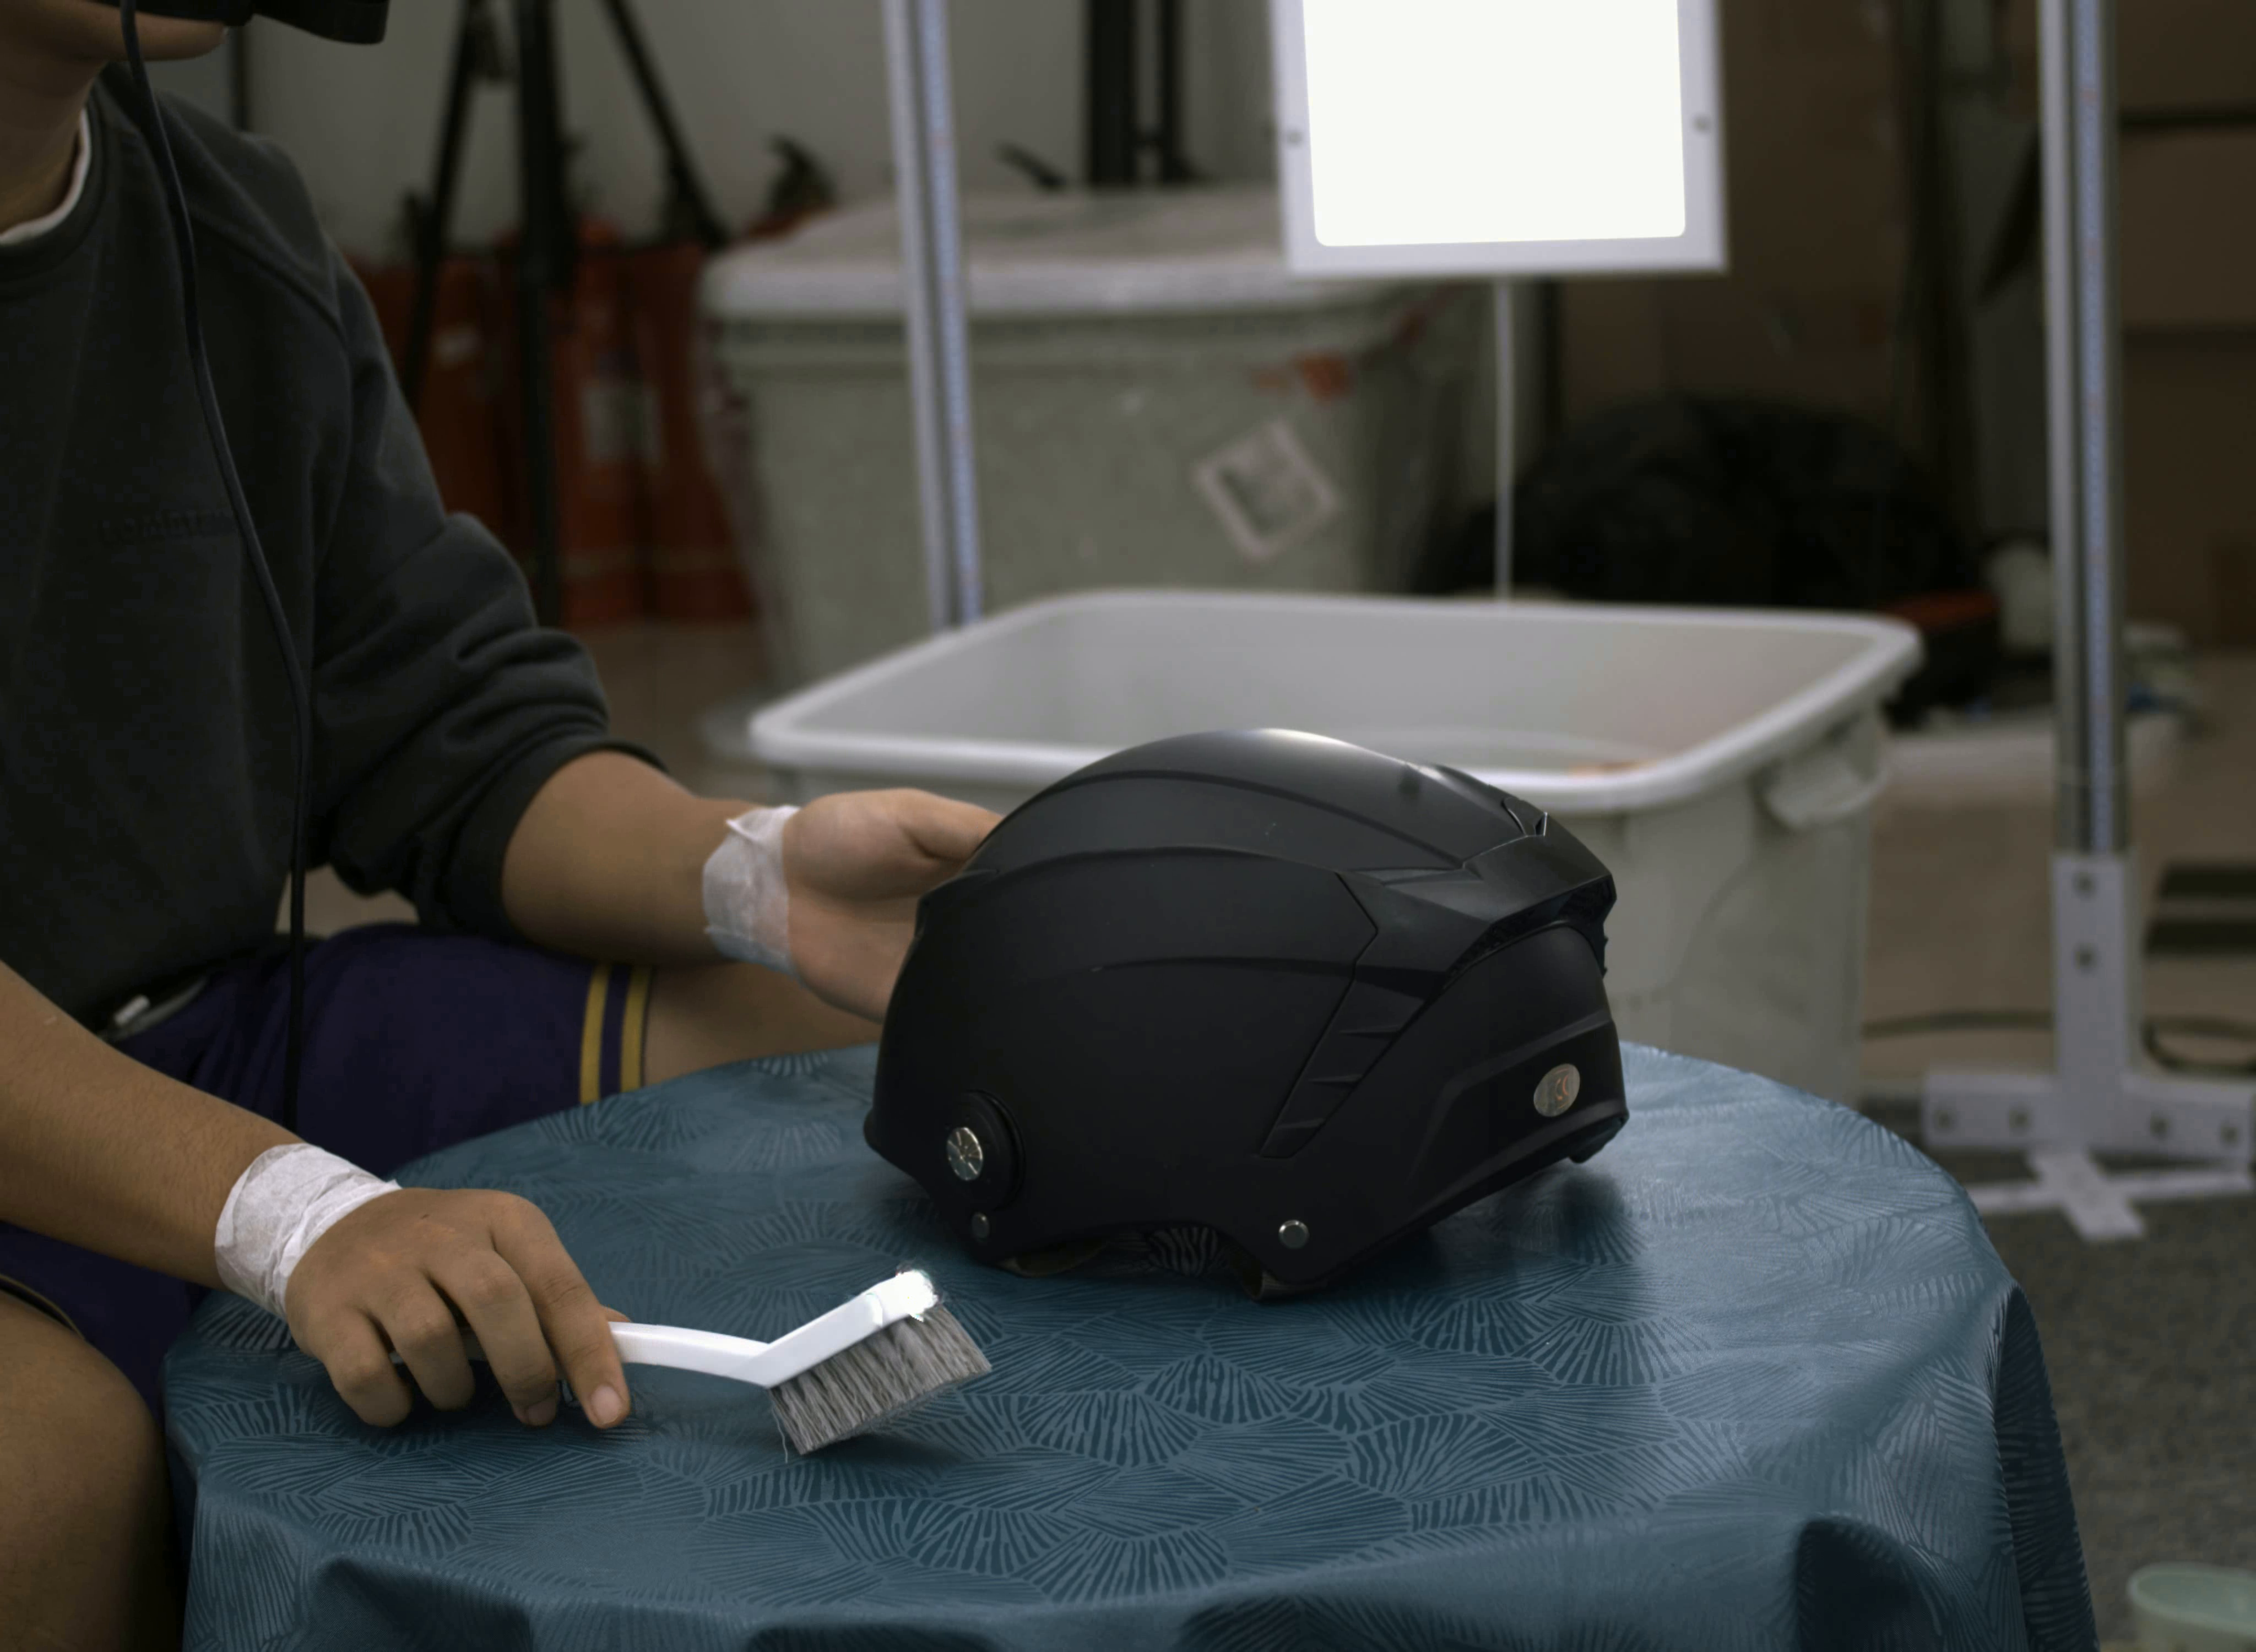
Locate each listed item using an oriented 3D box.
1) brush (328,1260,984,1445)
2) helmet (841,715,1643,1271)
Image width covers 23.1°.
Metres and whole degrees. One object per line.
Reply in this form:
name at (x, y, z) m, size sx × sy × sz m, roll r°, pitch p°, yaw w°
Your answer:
brush at (-0.150, 0.173, 1.713) m, size 0.249 × 0.050 × 0.033 m, roll -11°, pitch -2°, yaw 34°
helmet at (0.039, 0.049, 1.865) m, size 0.282 × 0.173 × 0.240 m, roll 11°, pitch 21°, yaw 41°
